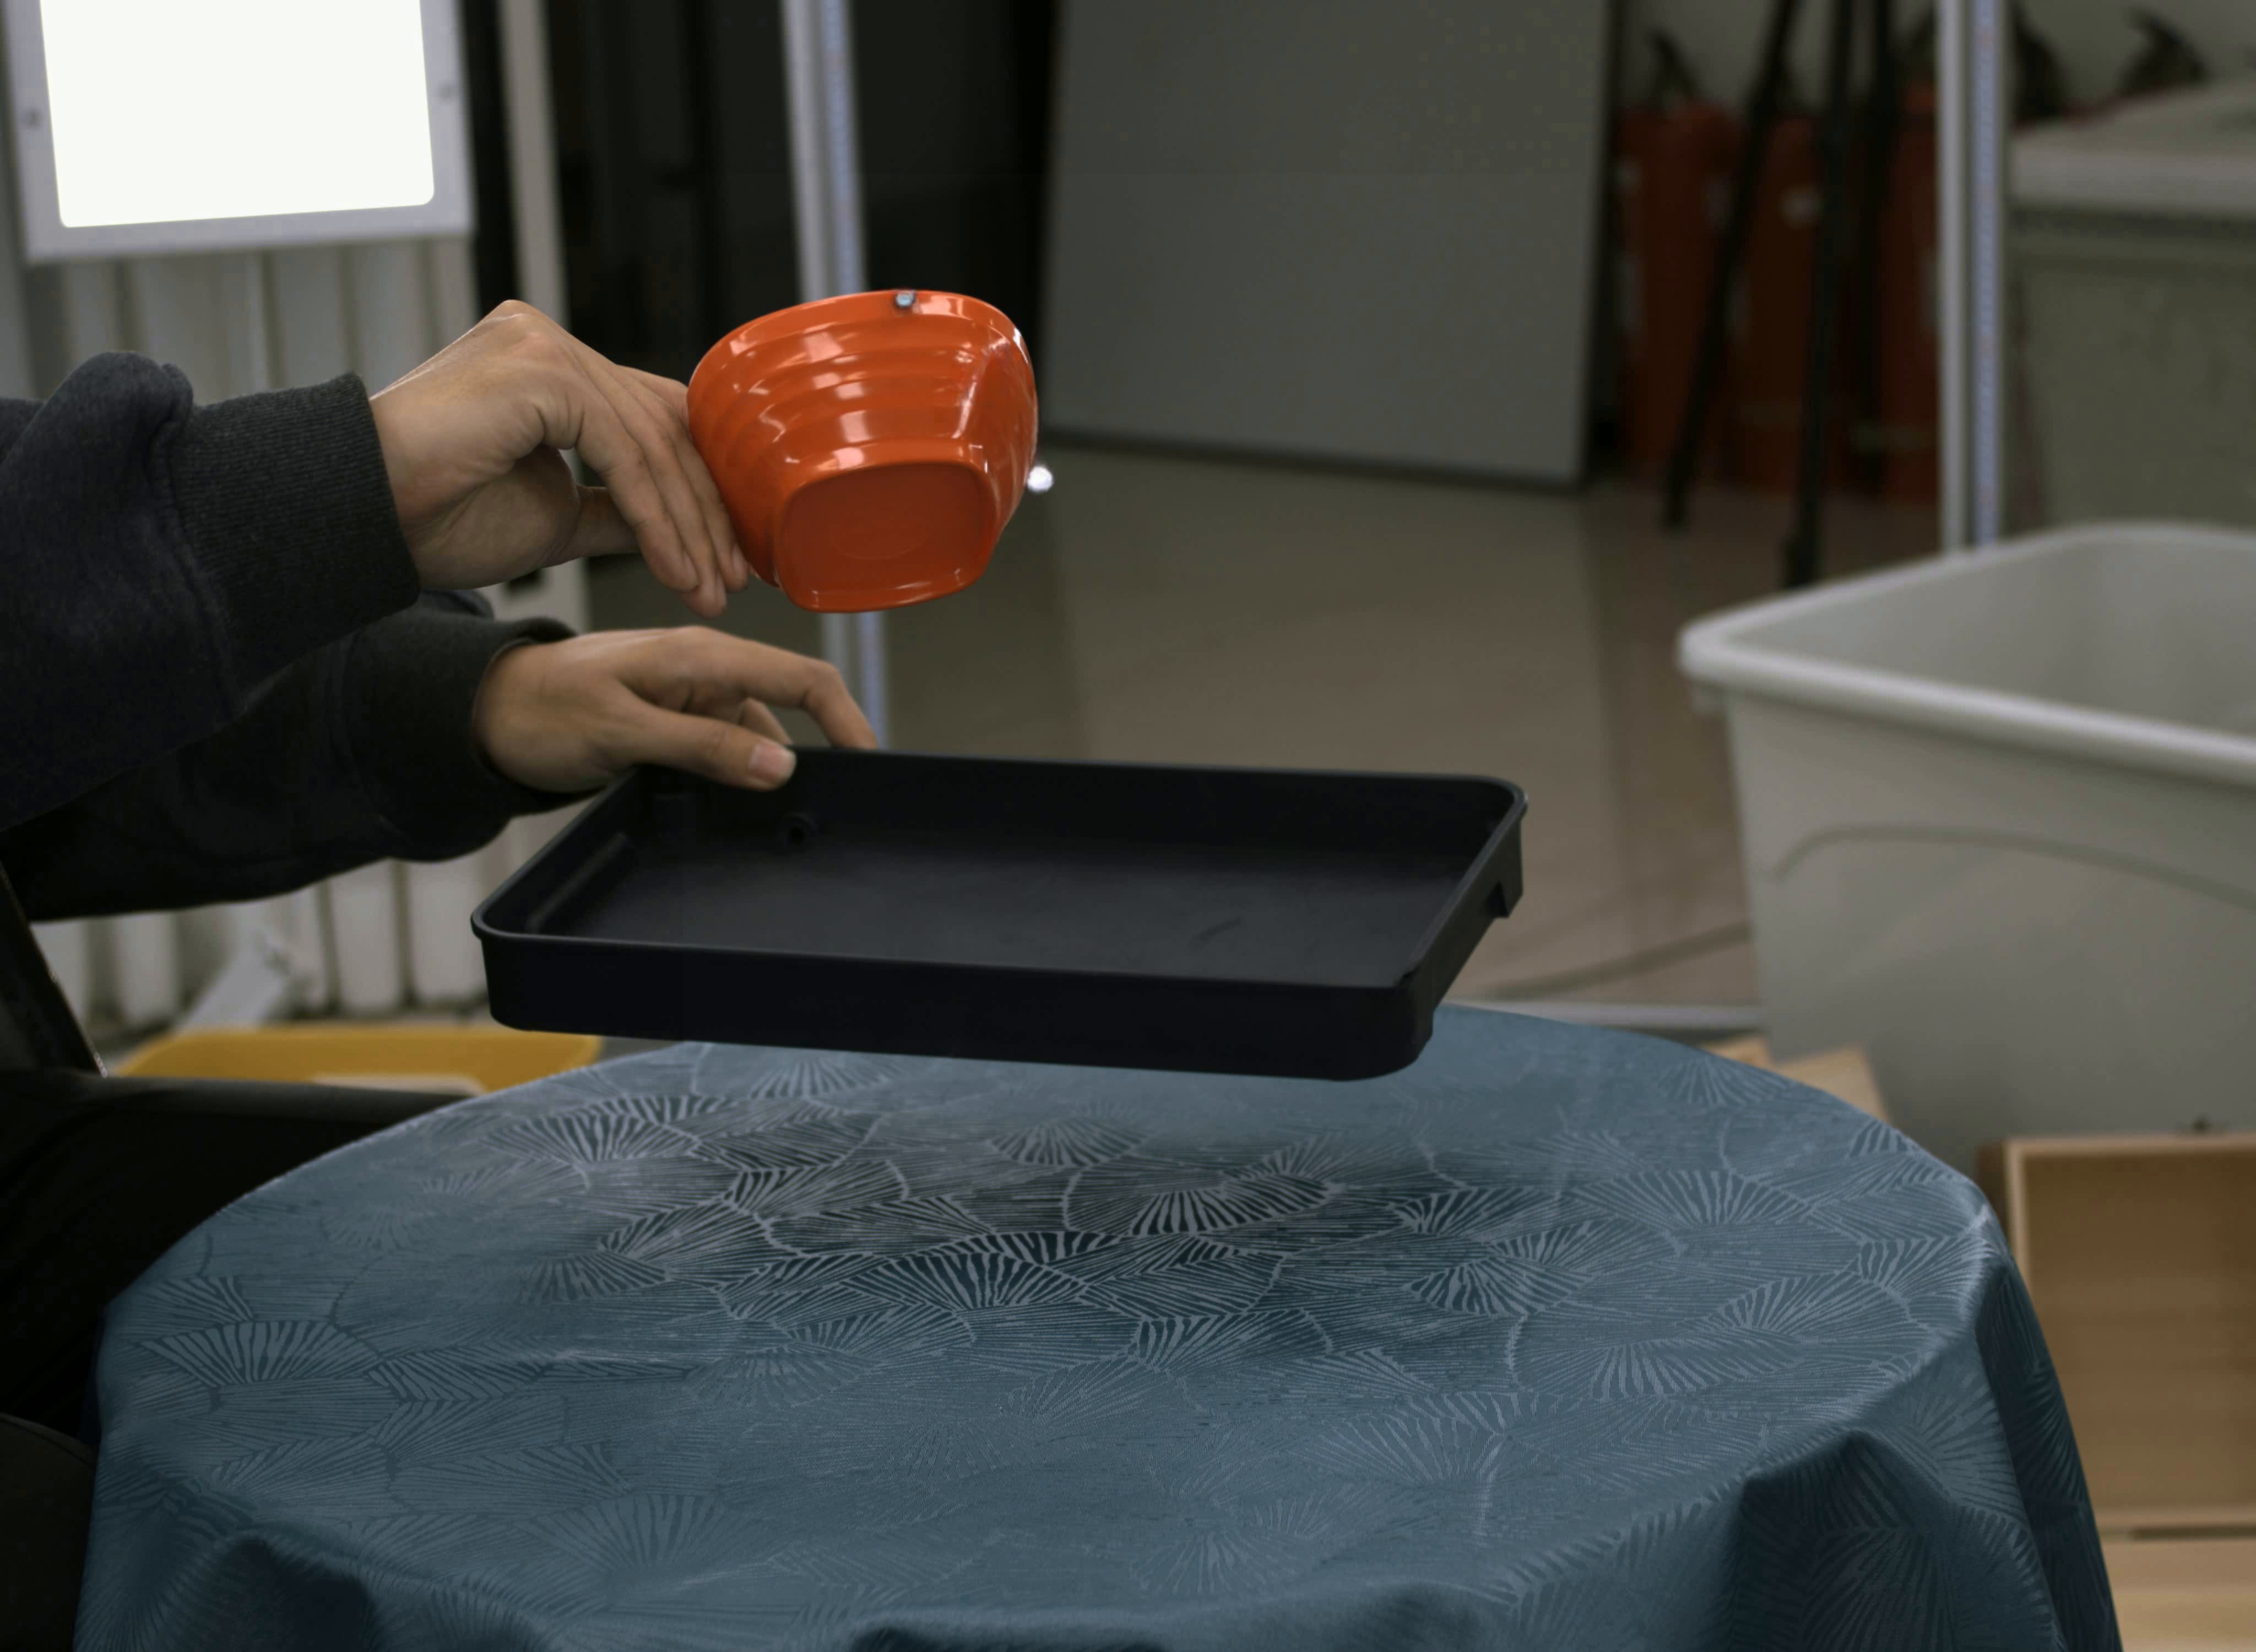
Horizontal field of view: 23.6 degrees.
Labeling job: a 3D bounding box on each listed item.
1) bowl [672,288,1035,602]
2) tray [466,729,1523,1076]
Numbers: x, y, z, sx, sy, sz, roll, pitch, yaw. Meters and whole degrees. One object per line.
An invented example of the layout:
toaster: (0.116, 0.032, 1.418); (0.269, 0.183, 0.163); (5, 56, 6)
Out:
bowl: (-0.079, -0.106, 1.605); (0.117, 0.052, 0.119); (-4, -29, -3)
tray: (-0.040, 0.022, 1.752); (0.317, 0.037, 0.183); (3, 21, 19)
